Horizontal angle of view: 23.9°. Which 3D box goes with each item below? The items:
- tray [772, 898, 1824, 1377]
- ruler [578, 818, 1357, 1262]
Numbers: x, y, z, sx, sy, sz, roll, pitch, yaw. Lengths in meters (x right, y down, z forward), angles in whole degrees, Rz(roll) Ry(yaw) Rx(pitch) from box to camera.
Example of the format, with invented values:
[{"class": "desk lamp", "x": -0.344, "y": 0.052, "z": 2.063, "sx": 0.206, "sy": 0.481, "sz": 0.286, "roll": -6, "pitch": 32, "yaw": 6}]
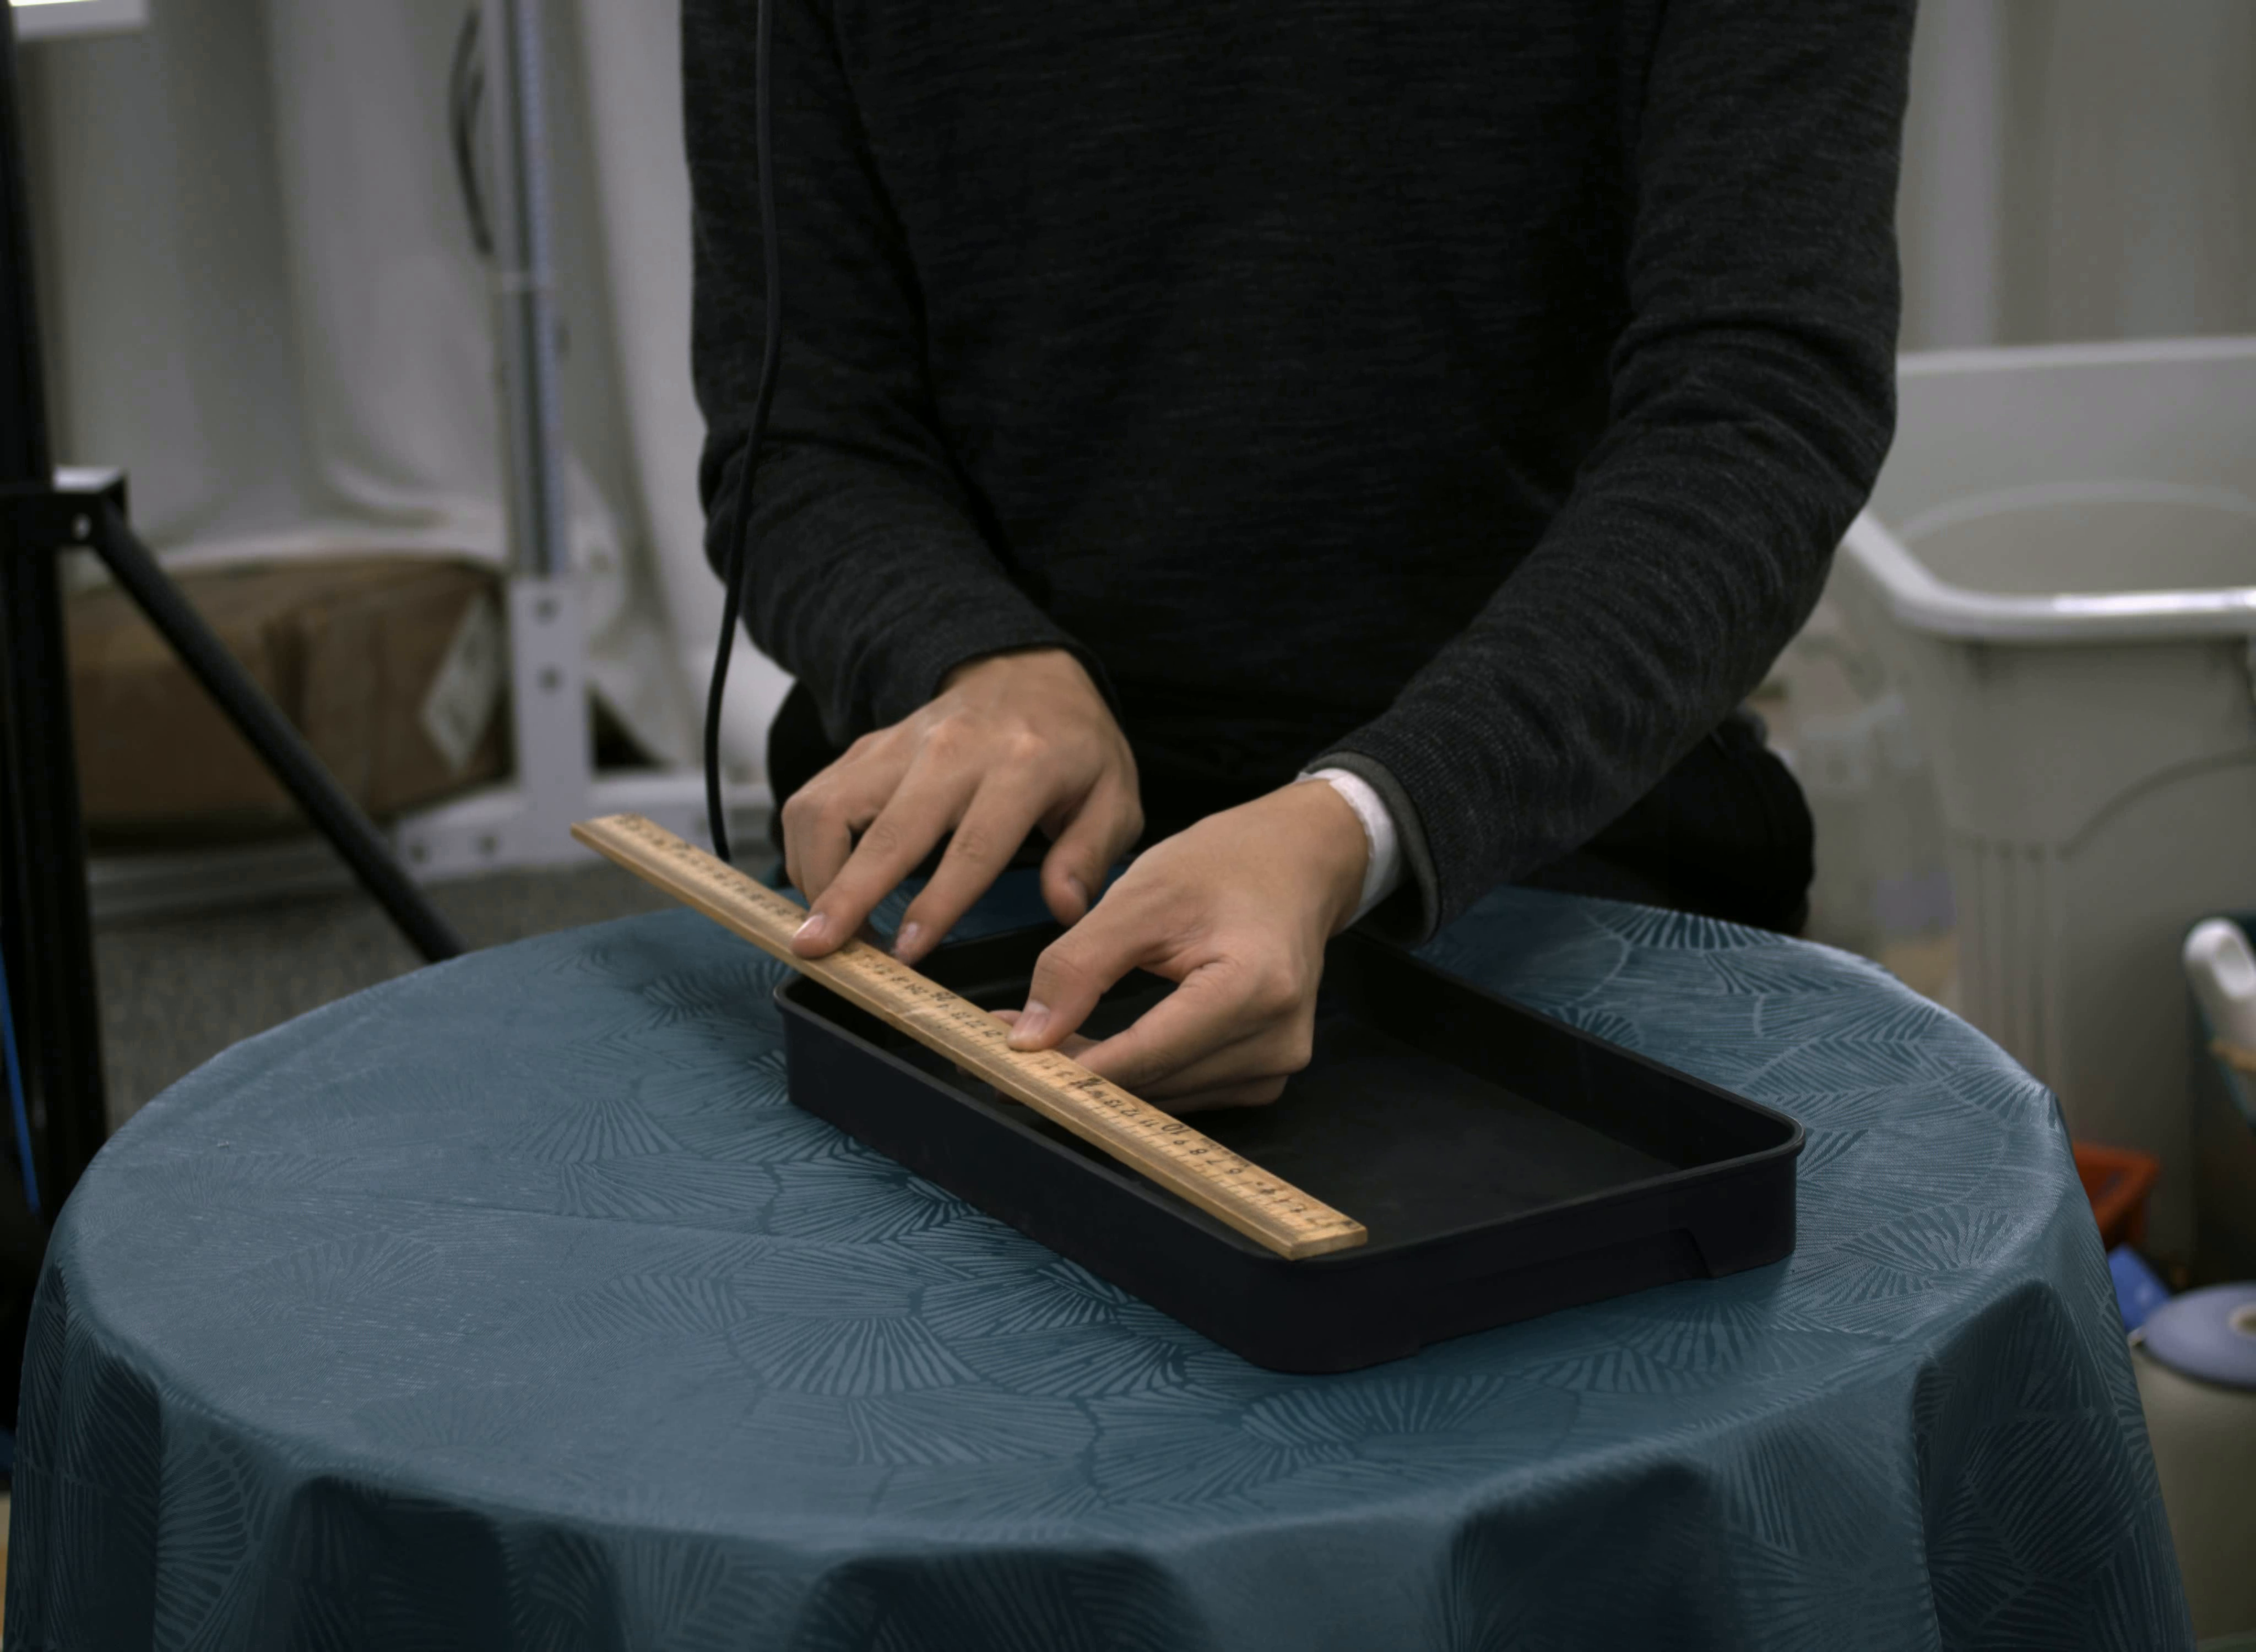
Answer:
[{"class": "tray", "x": 0.043, "y": 0.086, "z": 1.565, "sx": 0.180, "sy": 0.037, "sz": 0.325, "roll": -11, "pitch": 17, "yaw": -29}, {"class": "ruler", "x": -0.063, "y": 0.056, "z": 1.618, "sx": 0.026, "sy": 0.006, "sz": 0.511, "roll": -8, "pitch": 16, "yaw": -26}]
